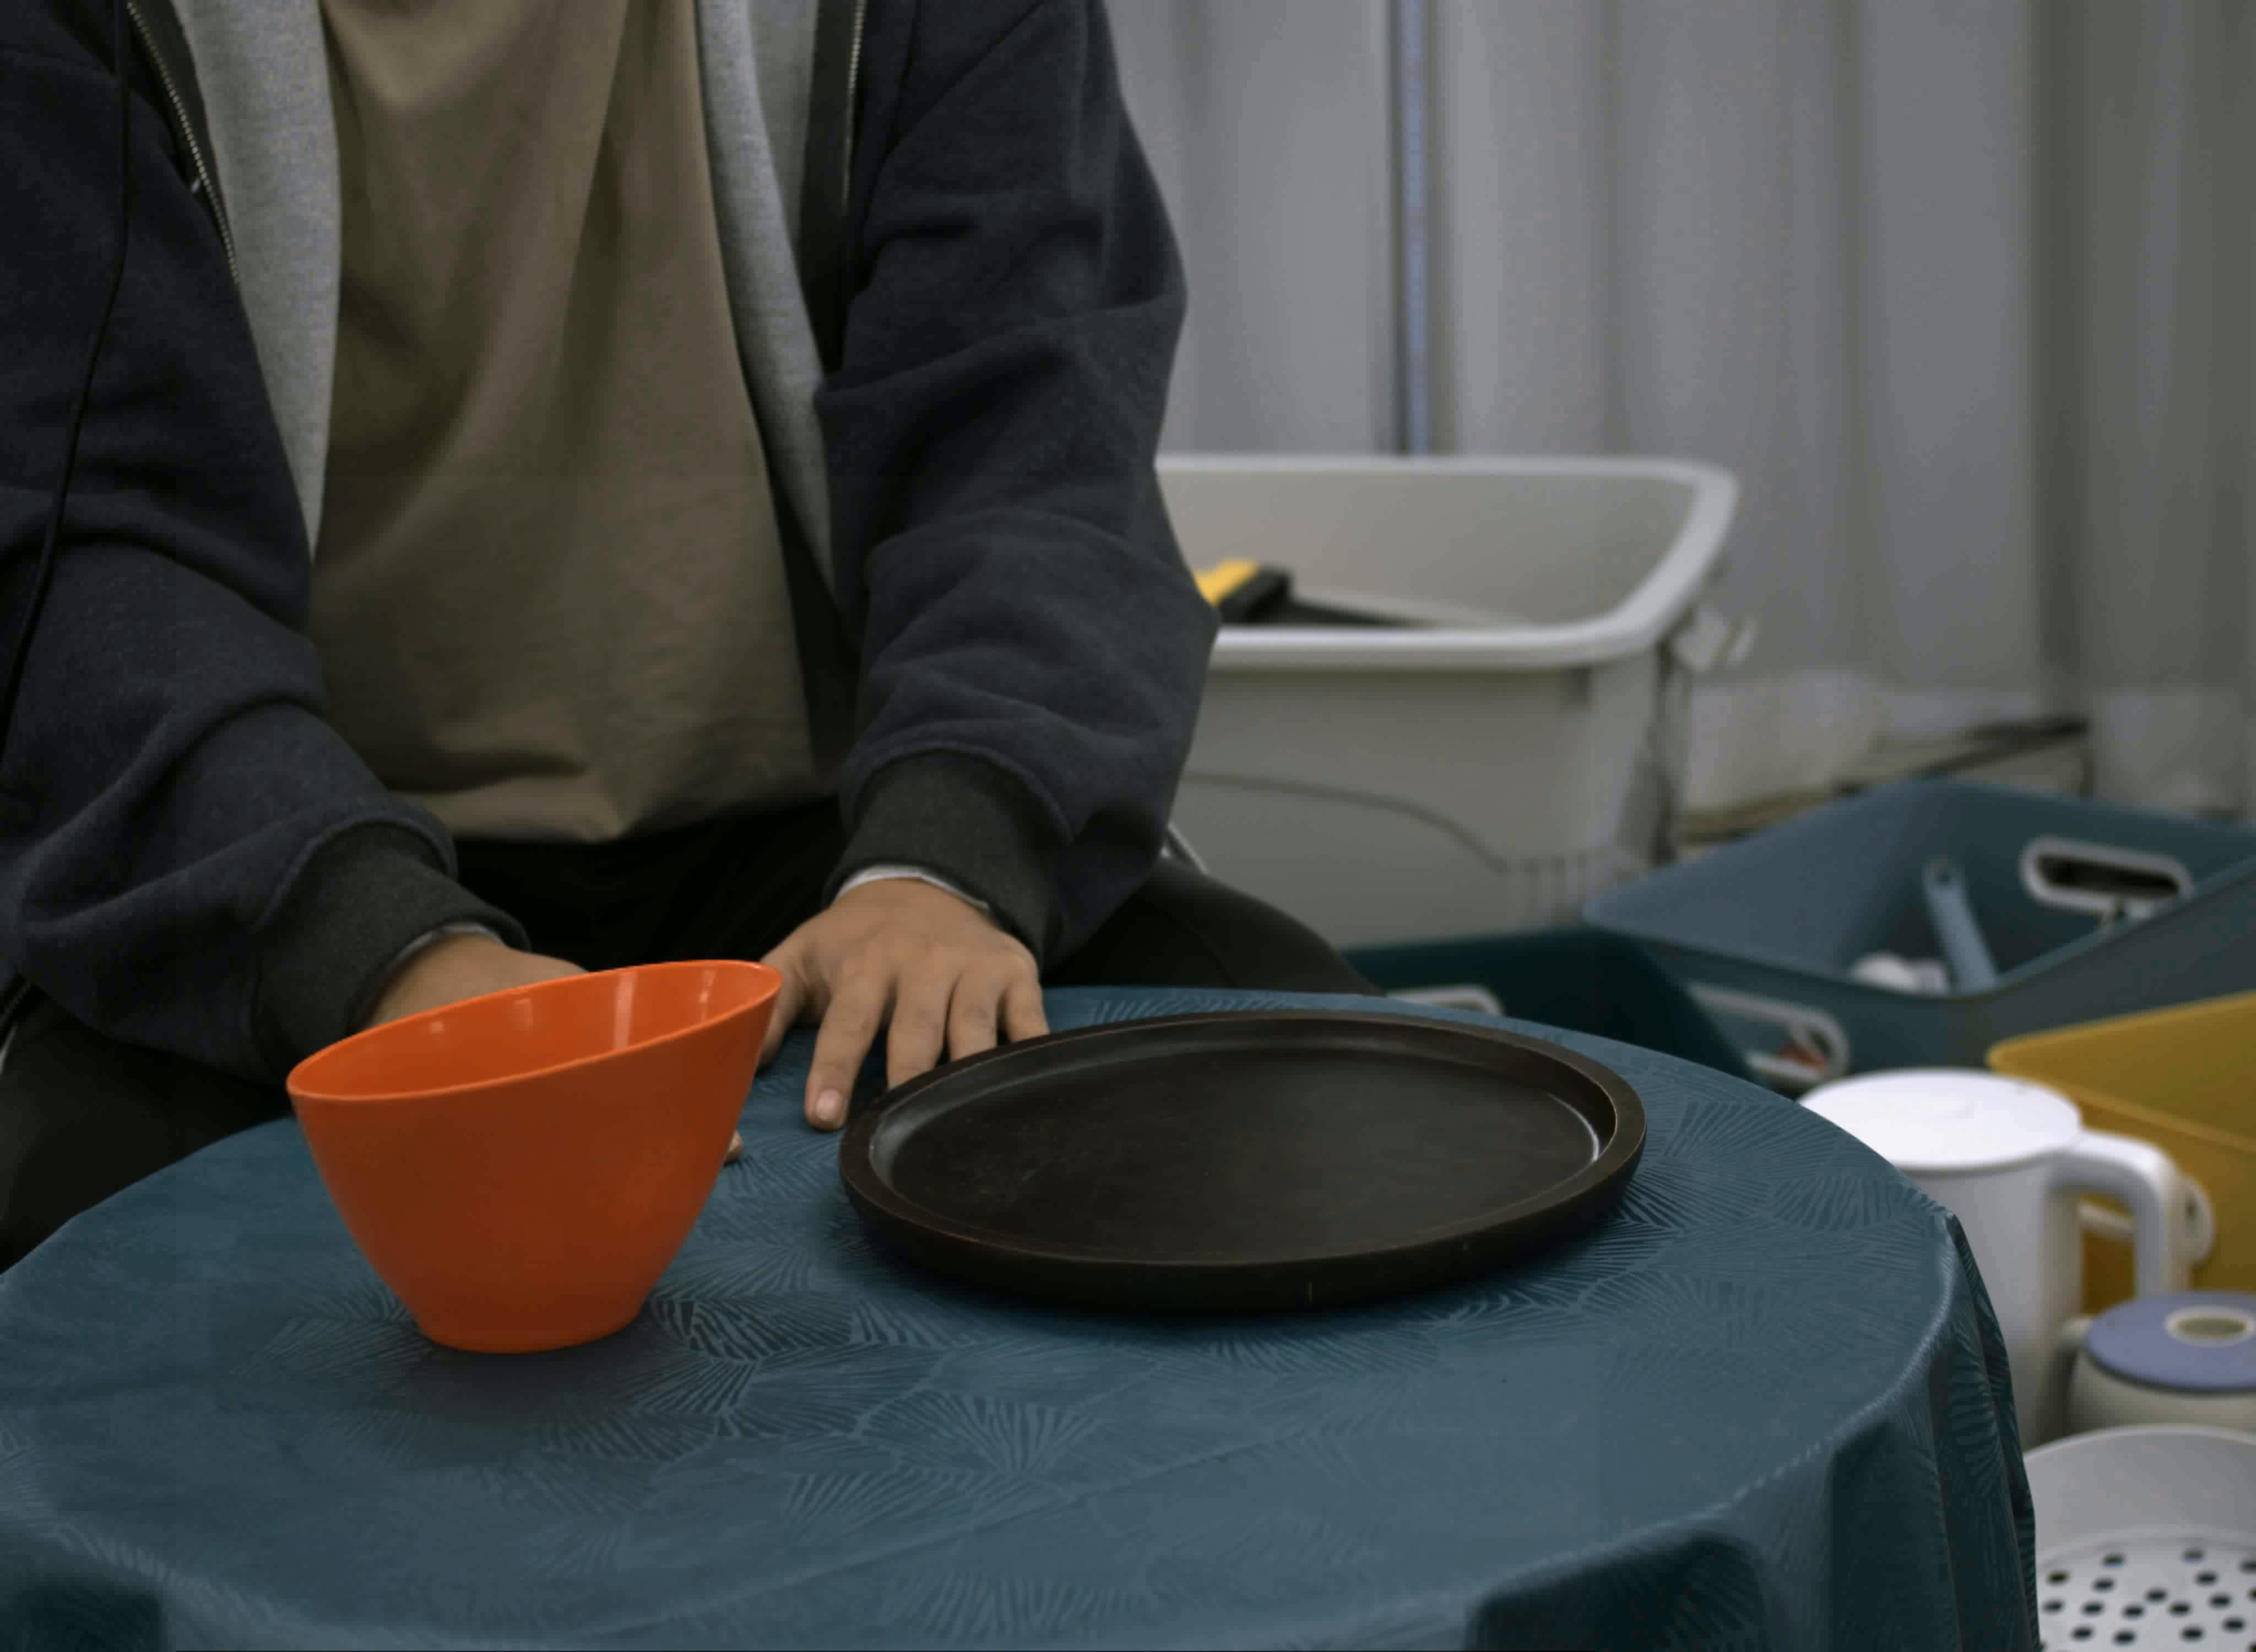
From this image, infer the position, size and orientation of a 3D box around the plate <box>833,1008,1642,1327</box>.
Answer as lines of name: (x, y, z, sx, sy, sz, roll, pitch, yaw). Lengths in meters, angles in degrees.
plate: (0.035, 0.104, 1.706, 0.254, 0.029, 0.256, -4, 15, 1)

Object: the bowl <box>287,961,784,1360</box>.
bowl: (-0.171, 0.099, 1.613, 0.147, 0.104, 0.149, -3, 15, 1)
